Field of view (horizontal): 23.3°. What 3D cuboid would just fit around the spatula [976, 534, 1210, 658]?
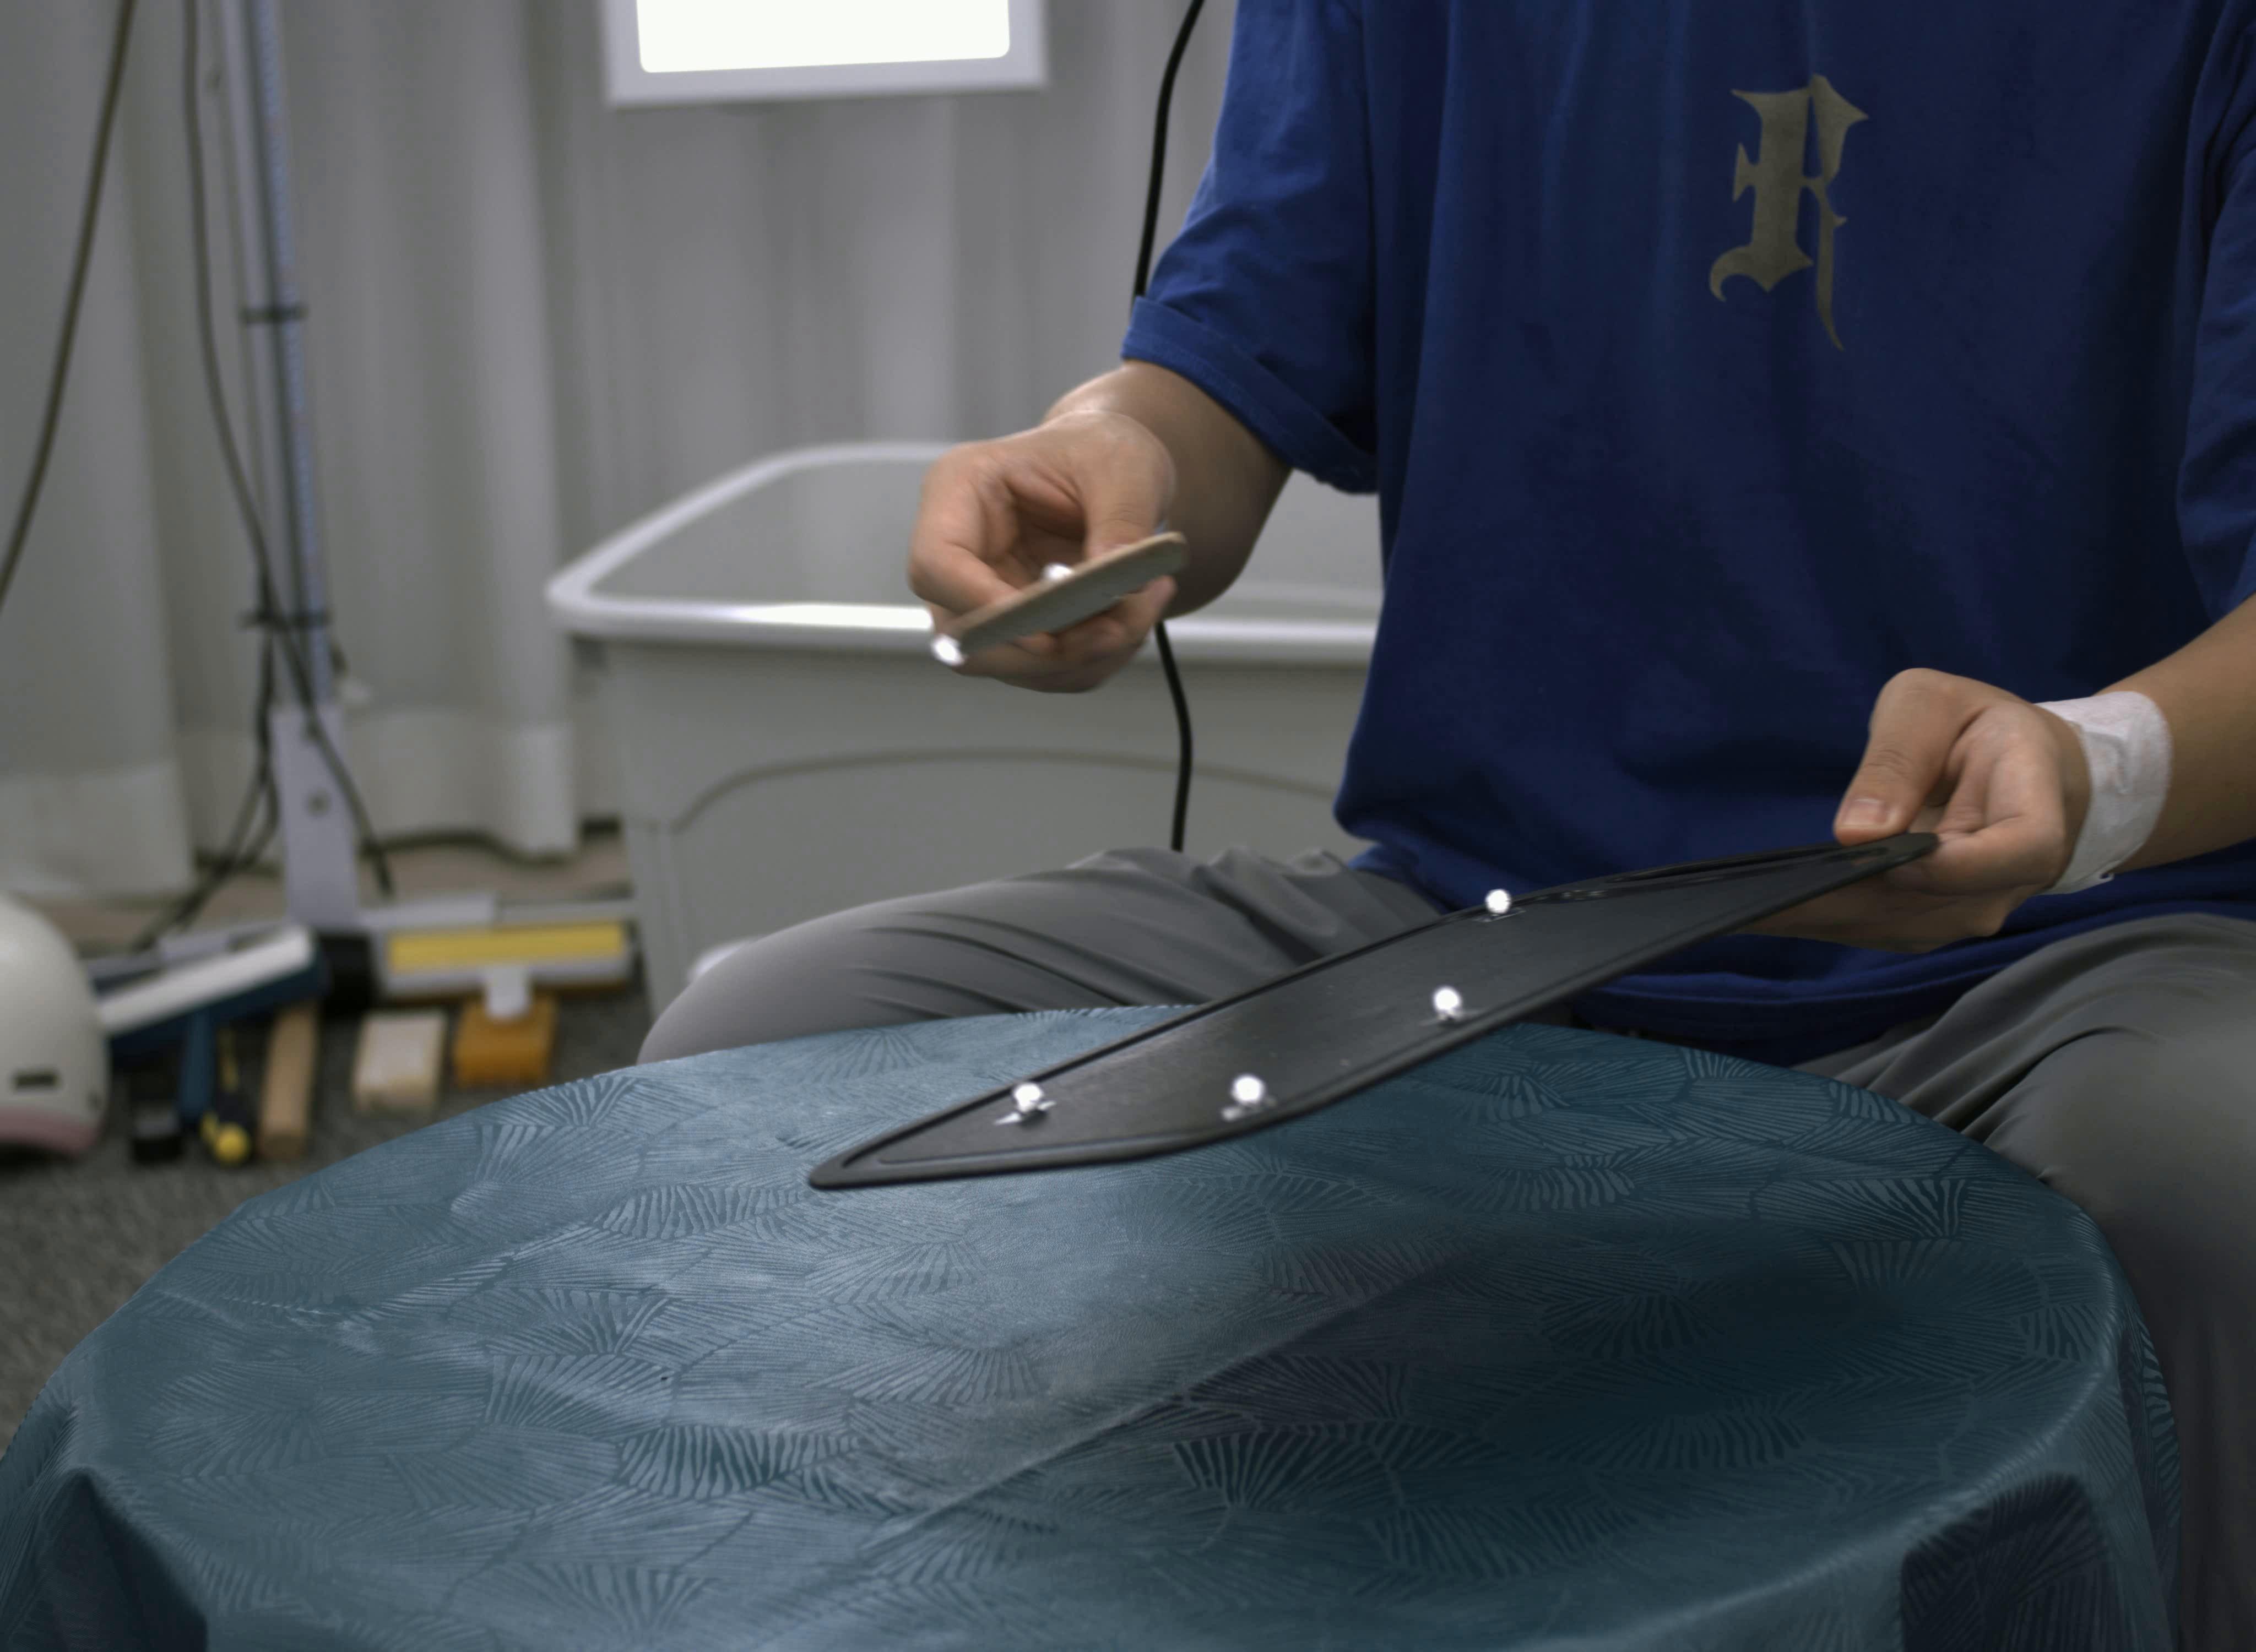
[{"bbox_3d":[-0.011,-0.067,1.661,0.072,0.010,0.293,-24,2,0],"label":"spatula"}]

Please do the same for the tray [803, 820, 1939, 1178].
[{"bbox_3d":[0.075,0.045,1.535,0.325,0.010,0.211,-20,6,-38],"label":"tray"}]
